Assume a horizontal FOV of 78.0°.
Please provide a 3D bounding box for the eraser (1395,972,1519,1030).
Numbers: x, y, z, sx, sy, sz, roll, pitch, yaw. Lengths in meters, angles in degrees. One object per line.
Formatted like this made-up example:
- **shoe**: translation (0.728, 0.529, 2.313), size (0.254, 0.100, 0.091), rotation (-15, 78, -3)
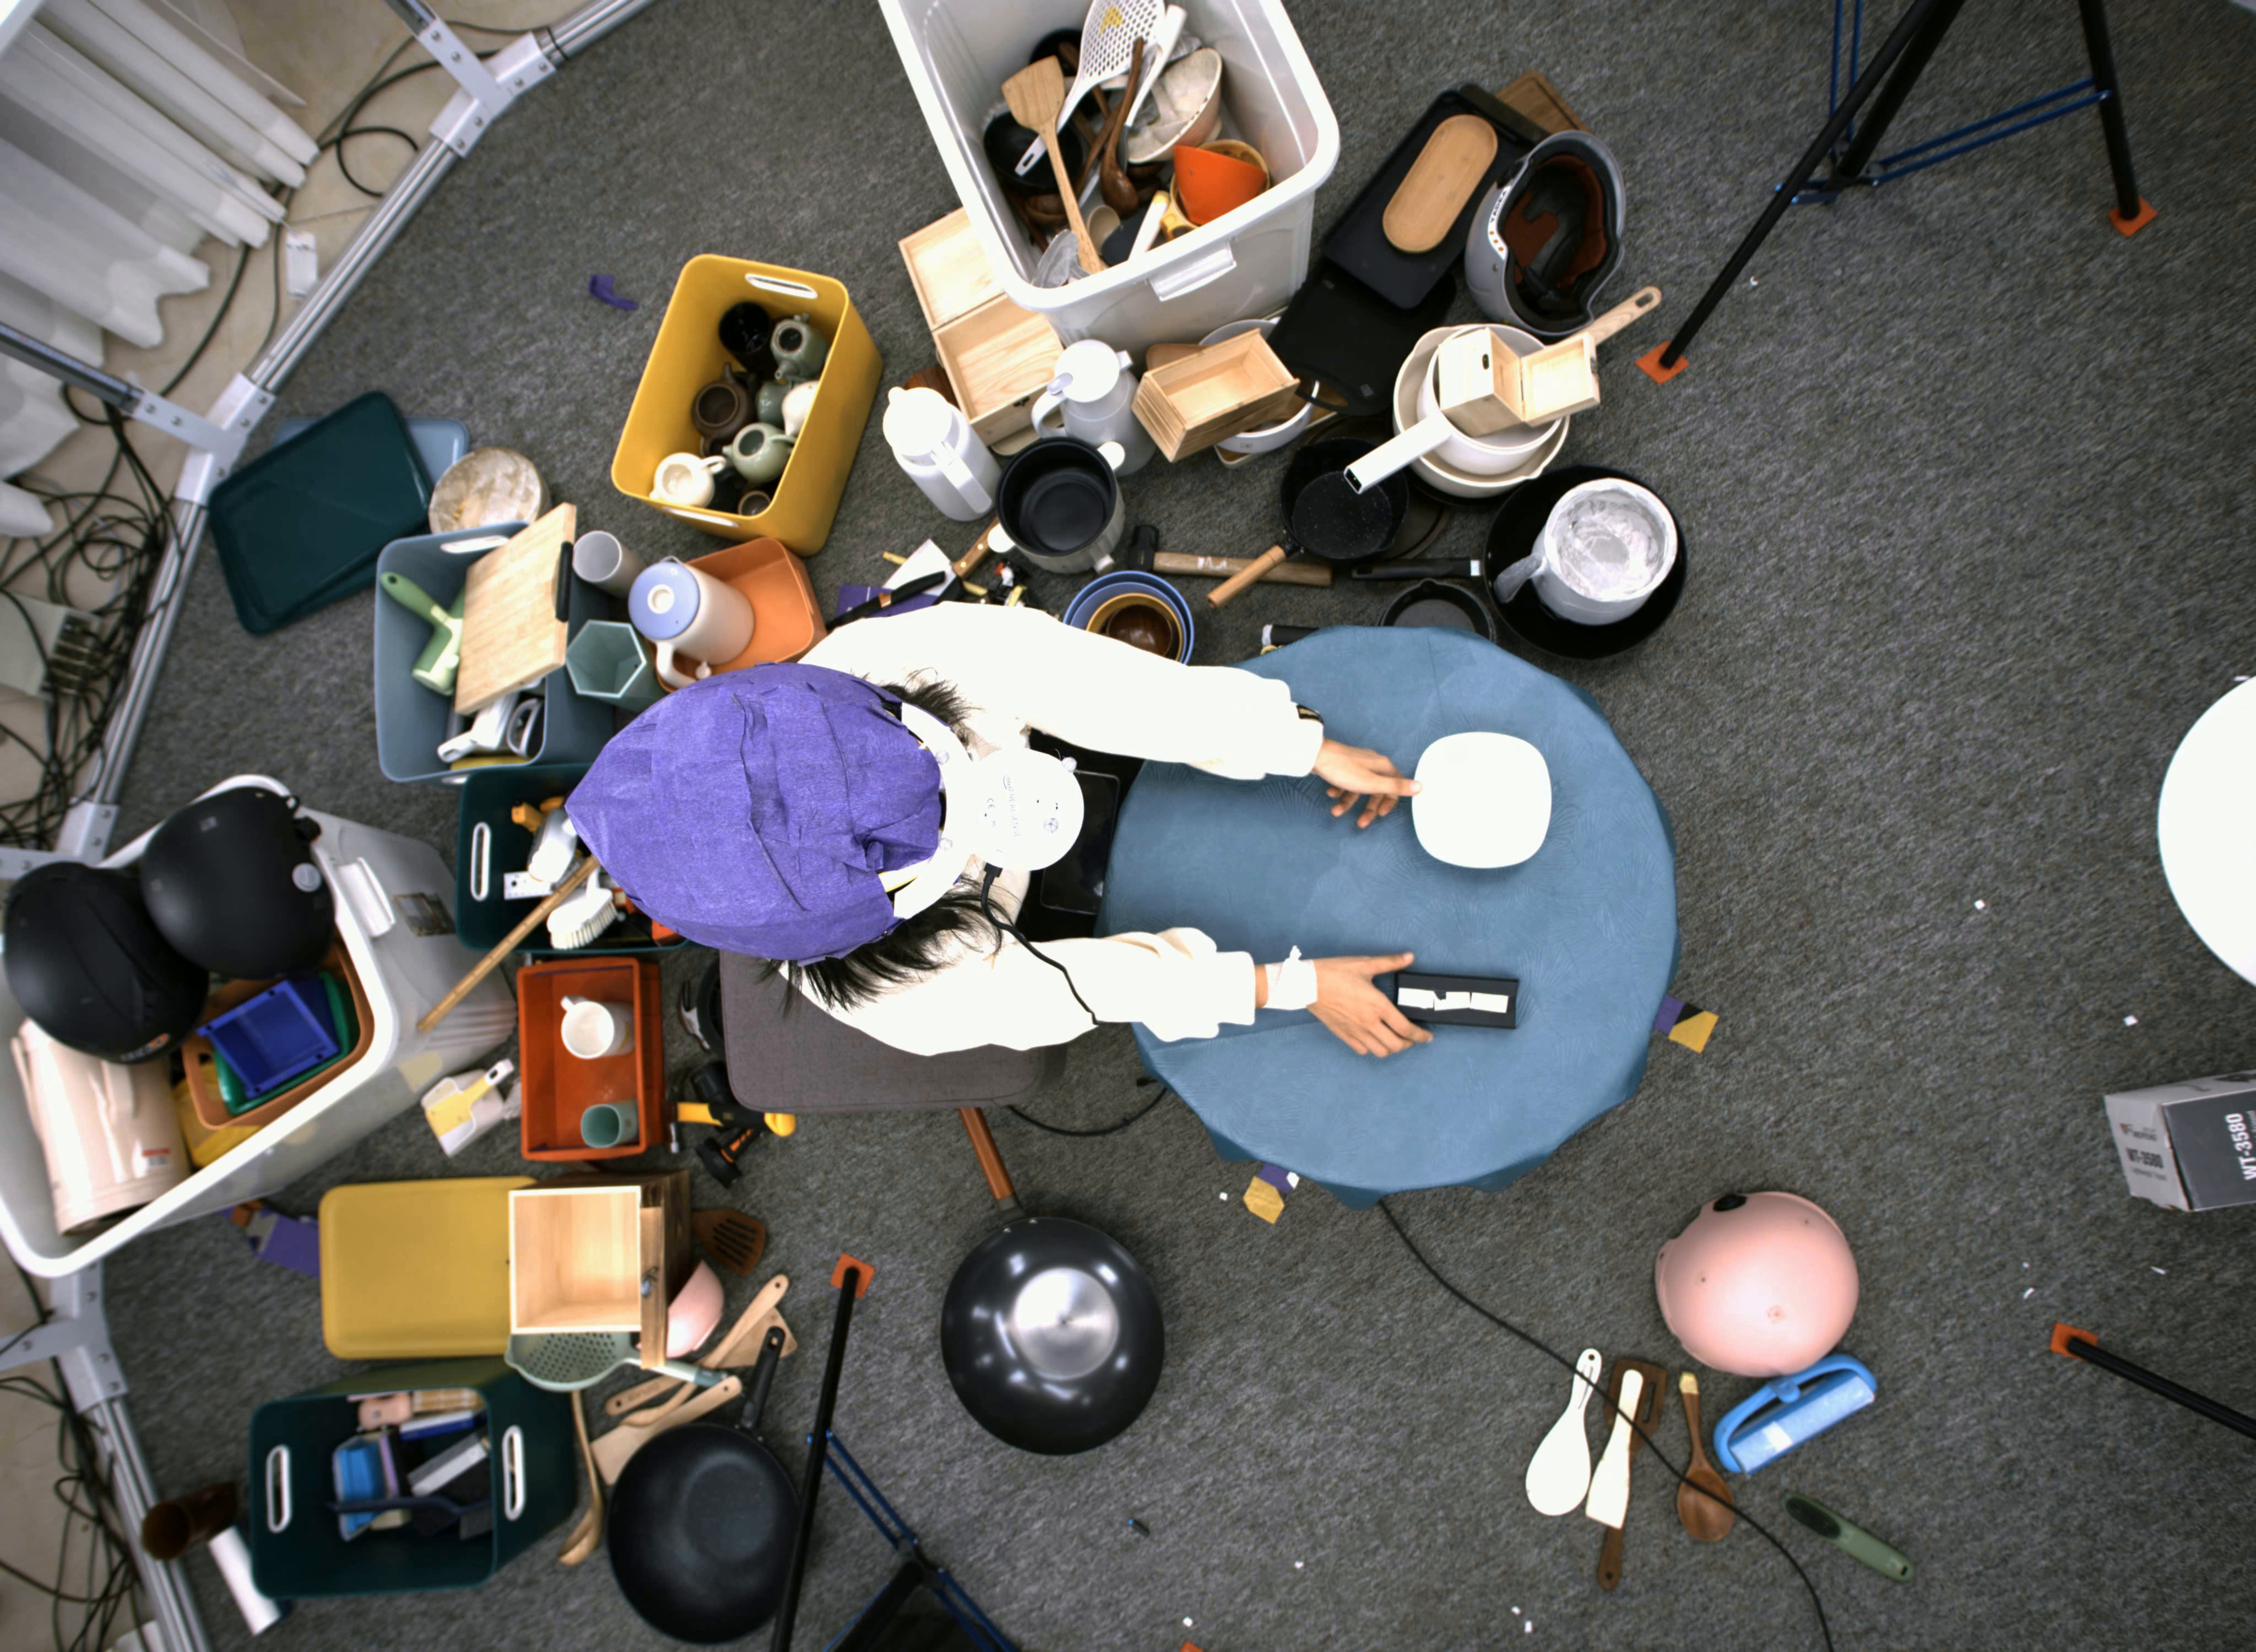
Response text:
- **eraser**: translation (0.340, 0.179, 1.428), size (0.126, 0.030, 0.053), rotation (1, 84, 13)

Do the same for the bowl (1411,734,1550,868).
- **bowl**: translation (0.362, -0.024, 1.420), size (0.152, 0.059, 0.150), rotation (-1, 83, 10)
